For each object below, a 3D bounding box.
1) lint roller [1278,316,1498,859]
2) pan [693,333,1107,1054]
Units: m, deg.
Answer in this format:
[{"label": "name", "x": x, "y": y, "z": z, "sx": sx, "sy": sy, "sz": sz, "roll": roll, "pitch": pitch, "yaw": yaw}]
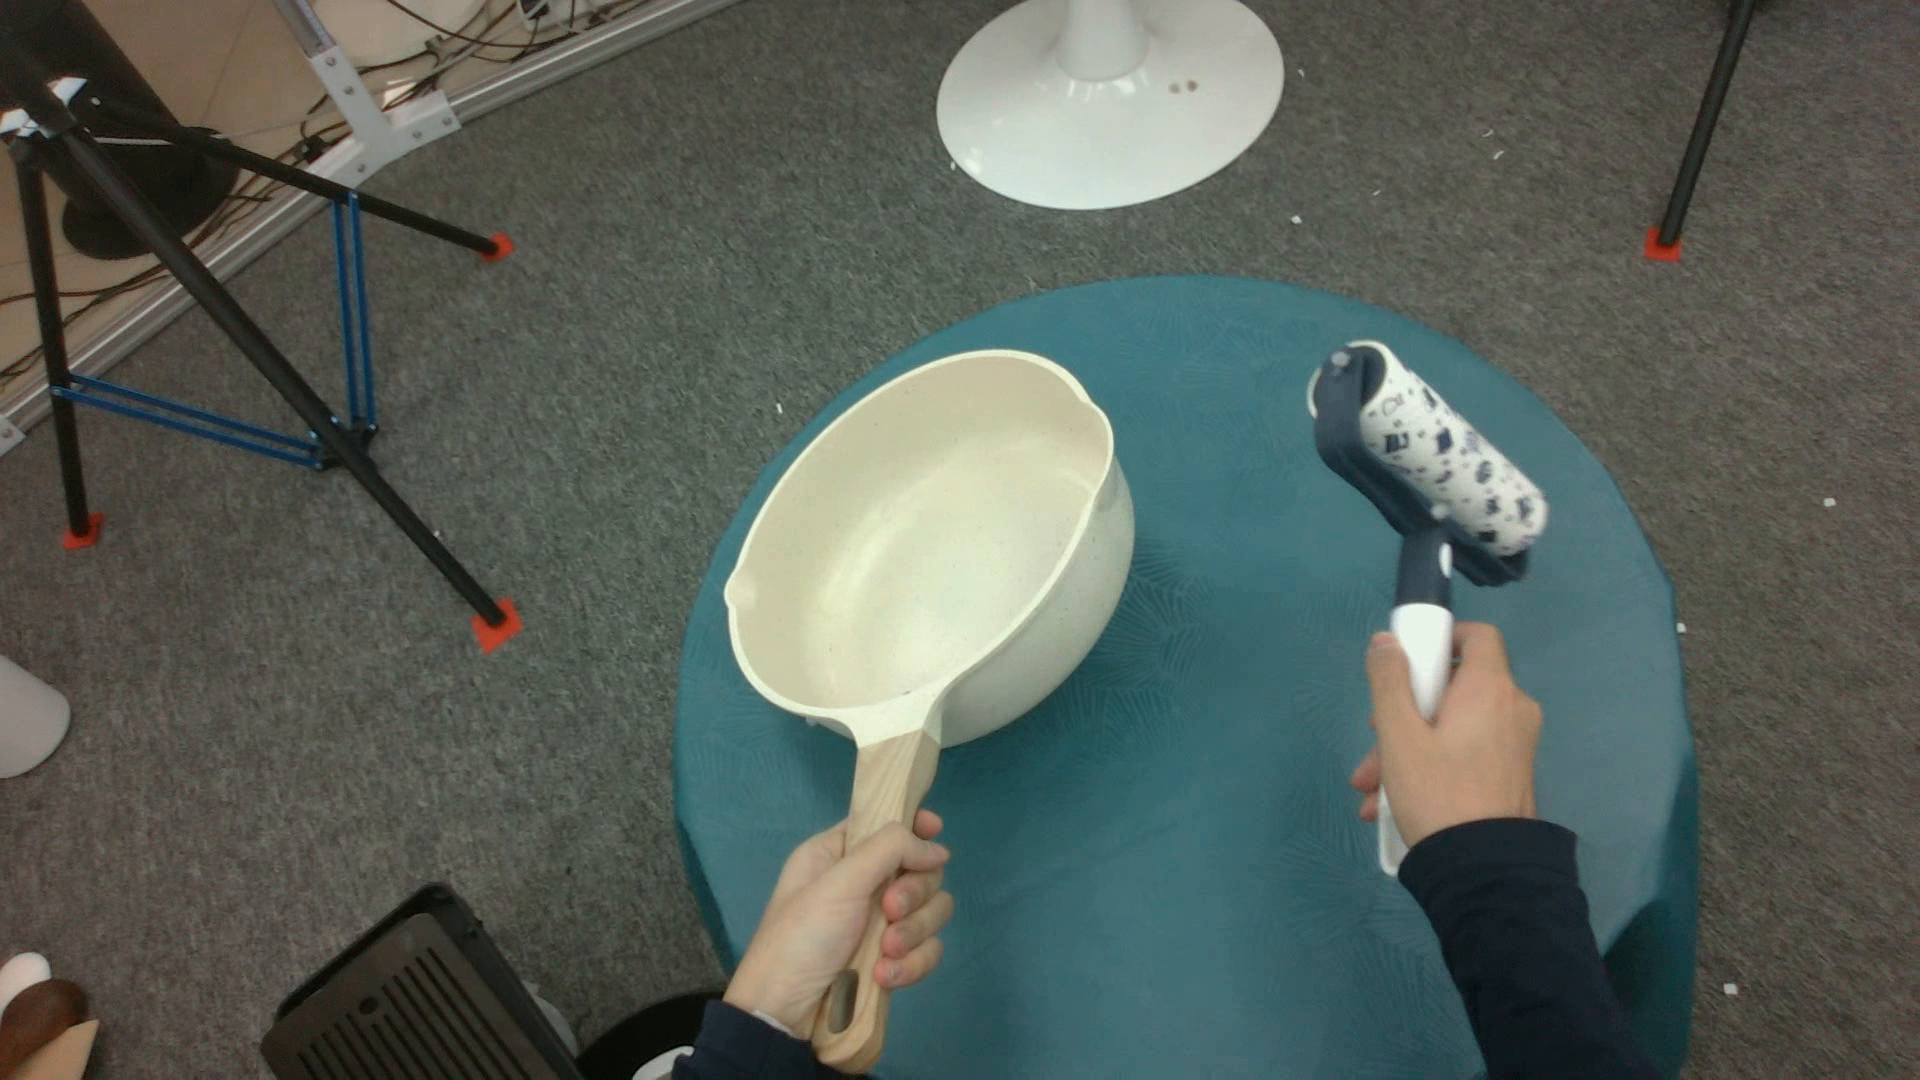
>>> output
[{"label": "lint roller", "x": 0.213, "y": 0.032, "z": 0.674, "sx": 0.050, "sy": 0.176, "sz": 0.248, "roll": -16, "pitch": 56, "yaw": 39}, {"label": "pan", "x": -0.030, "y": 0.068, "z": 0.742, "sx": 0.262, "sy": 0.102, "sz": 0.437, "roll": -20, "pitch": 46, "yaw": 22}]
